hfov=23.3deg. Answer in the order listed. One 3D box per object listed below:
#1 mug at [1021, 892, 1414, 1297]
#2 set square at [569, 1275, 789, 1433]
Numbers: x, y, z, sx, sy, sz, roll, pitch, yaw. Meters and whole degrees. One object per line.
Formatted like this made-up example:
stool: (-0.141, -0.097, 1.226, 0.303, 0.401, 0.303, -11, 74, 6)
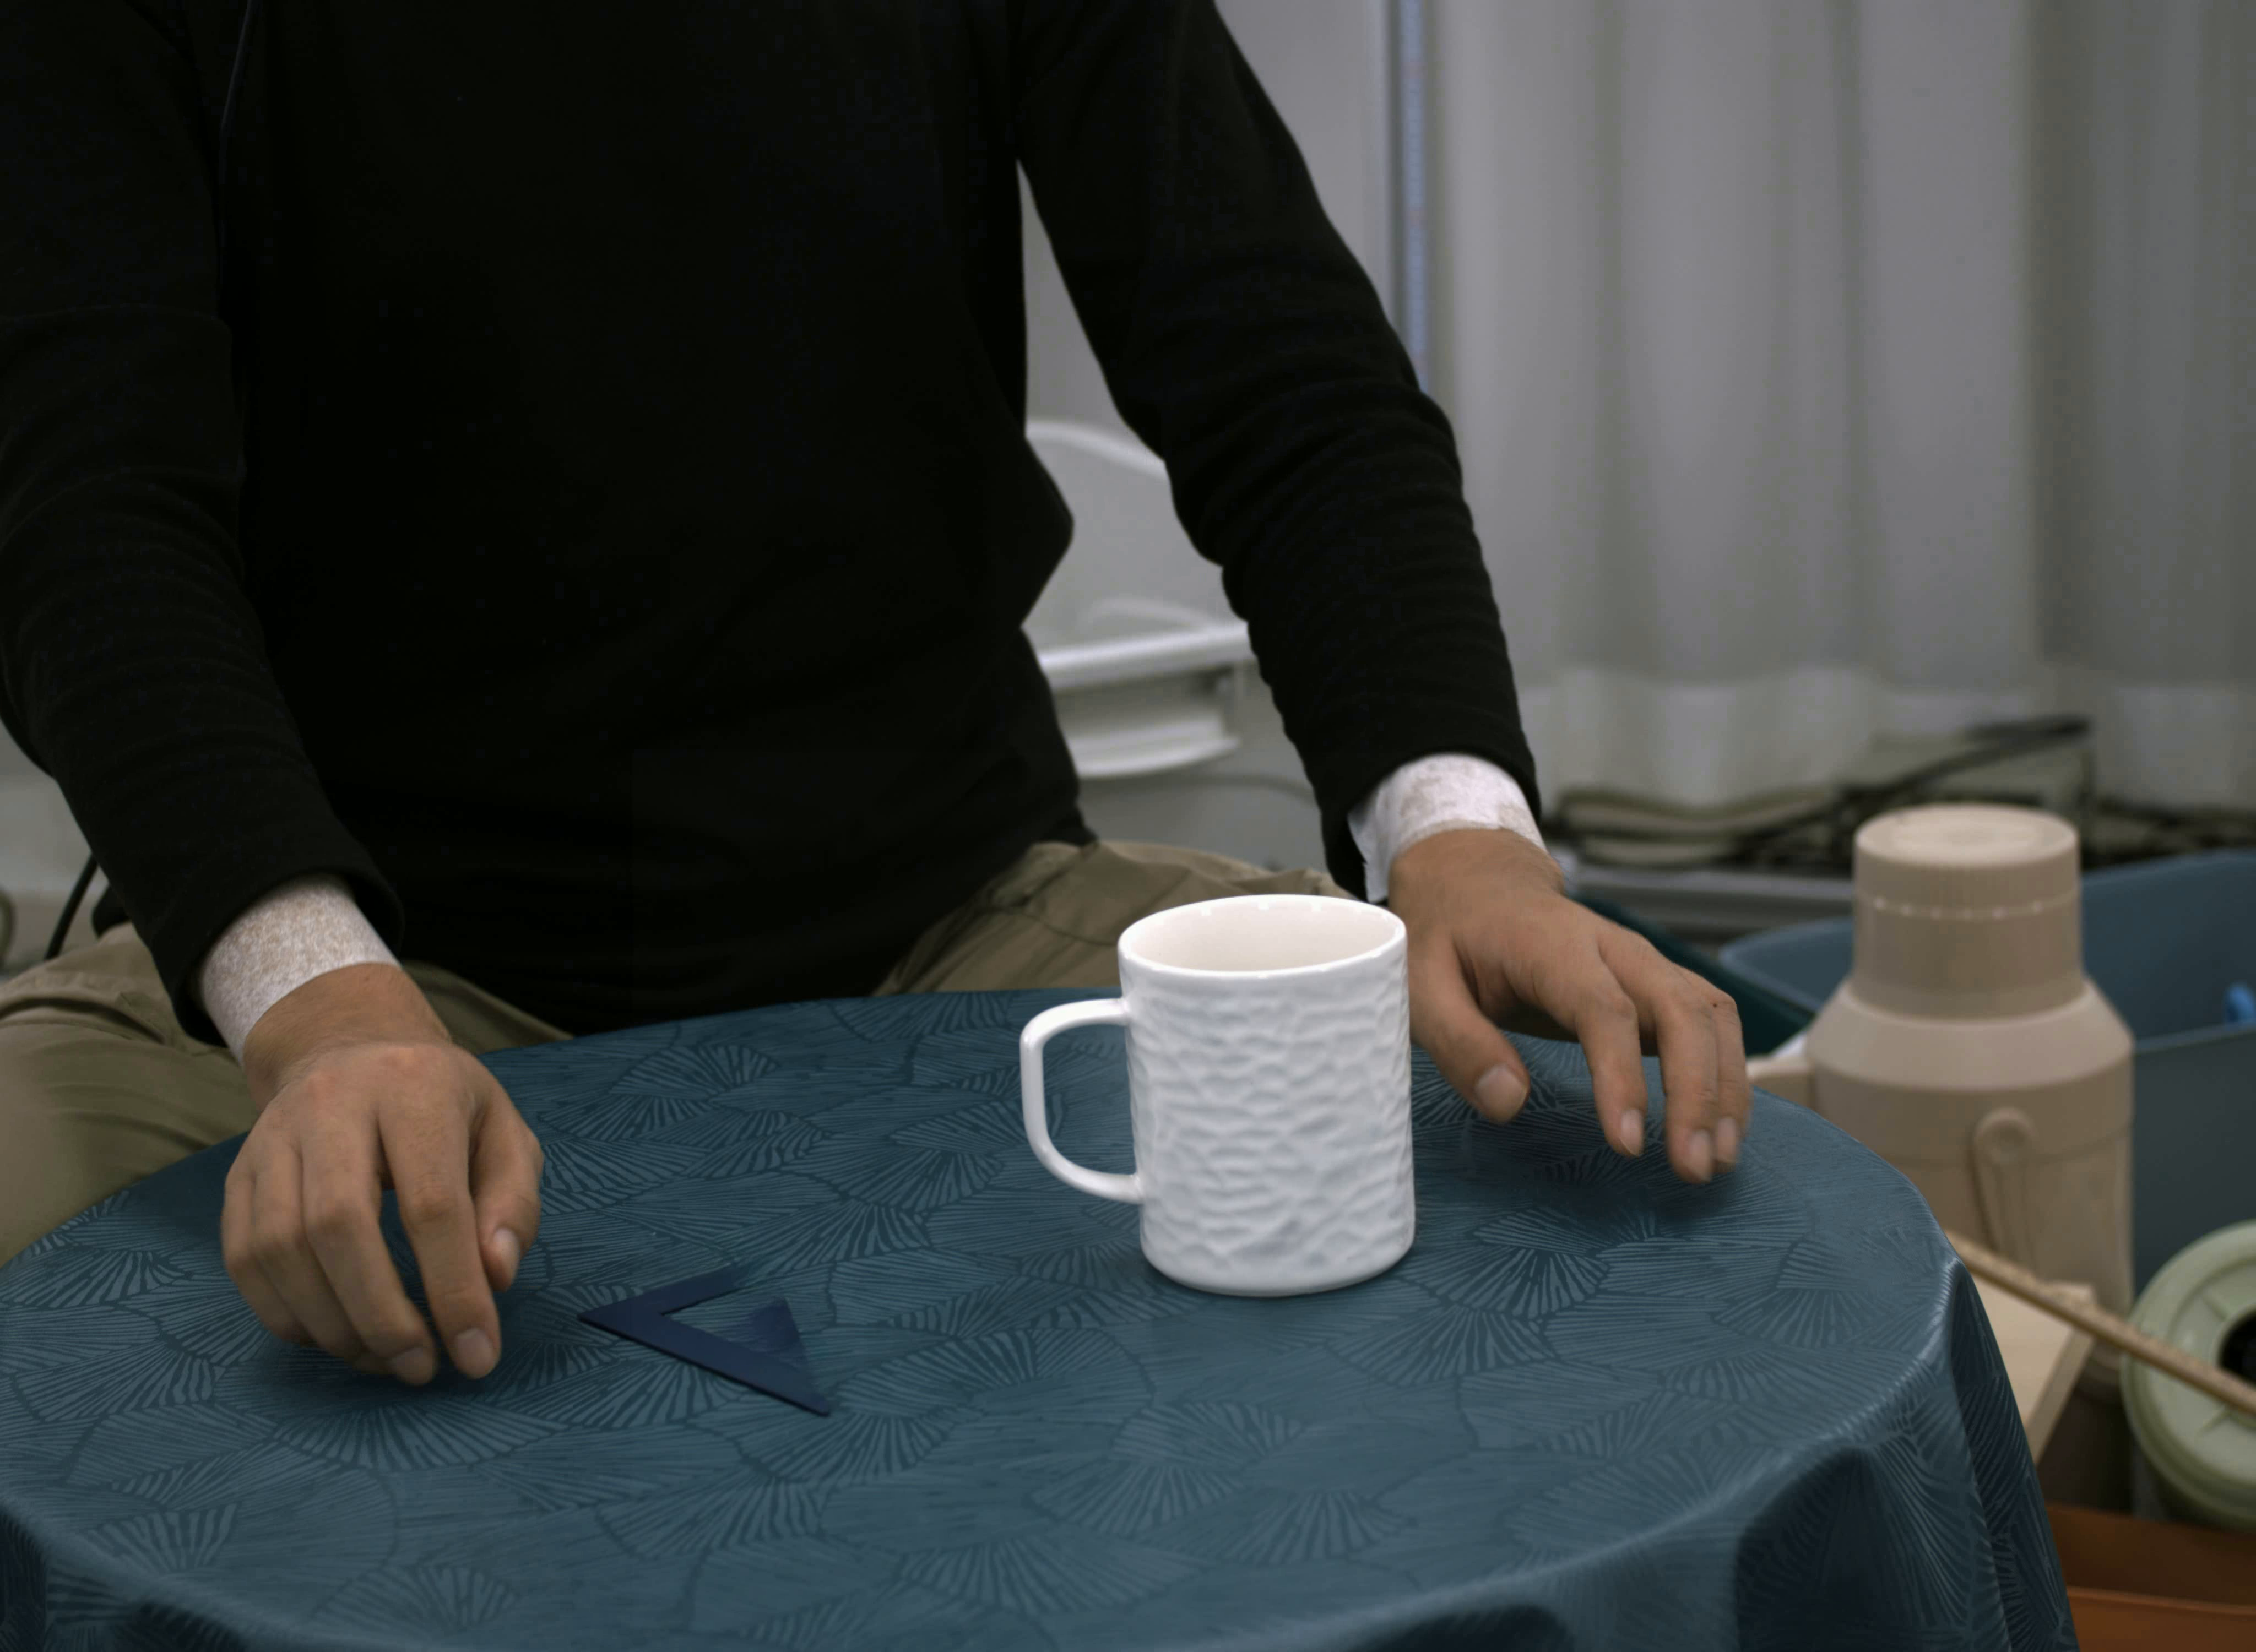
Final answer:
mug: (0.027, 0.082, 1.635, 0.118, 0.101, 0.085, -5, 14, -9)
set square: (-0.131, 0.153, 1.586, 0.061, 0.006, 0.133, -2, 15, -6)
